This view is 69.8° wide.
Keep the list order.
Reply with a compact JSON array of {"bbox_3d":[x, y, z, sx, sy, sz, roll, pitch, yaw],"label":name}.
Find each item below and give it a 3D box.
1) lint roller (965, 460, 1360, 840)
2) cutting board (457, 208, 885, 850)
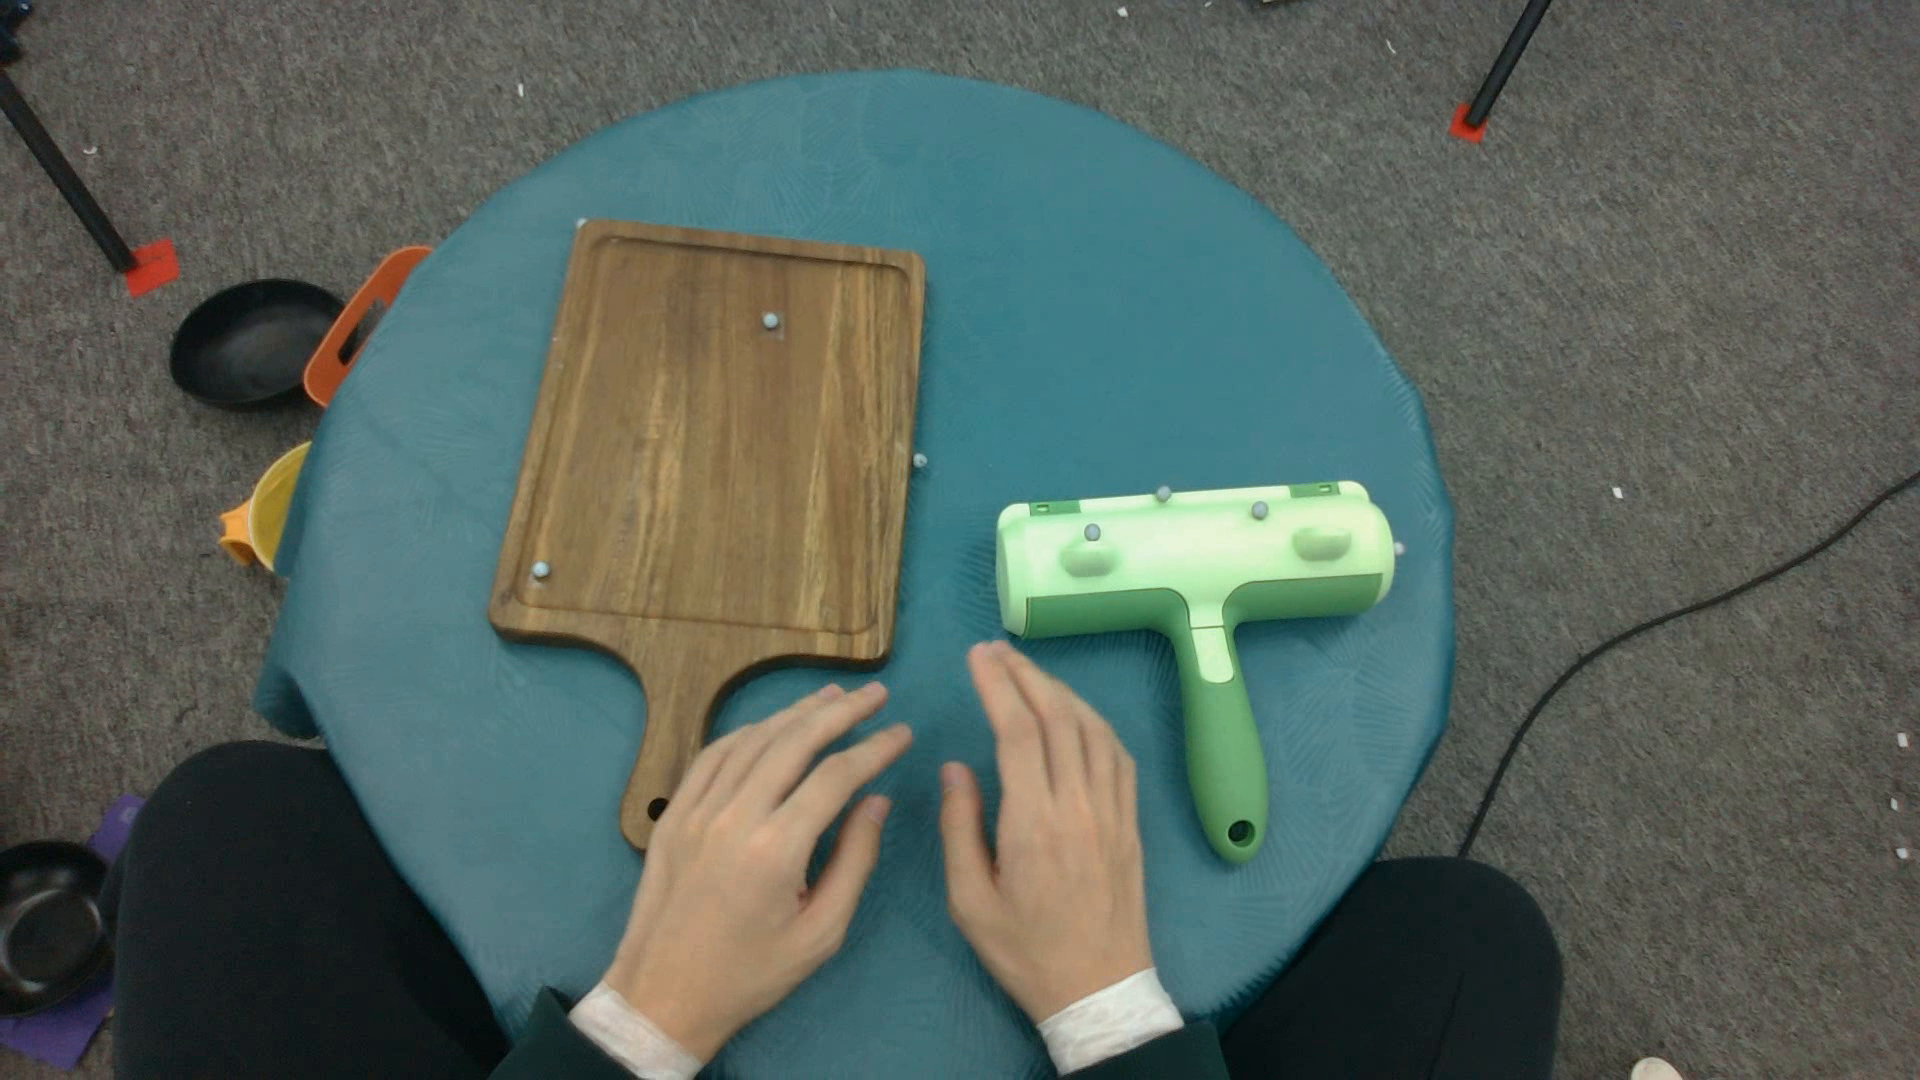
[{"bbox_3d":[0.110,0.046,0.664,0.199,0.082,0.184,-4,61,-8],"label":"lint roller"},{"bbox_3d":[-0.143,-0.020,0.702,0.201,0.023,0.353,4,64,-4],"label":"cutting board"}]
